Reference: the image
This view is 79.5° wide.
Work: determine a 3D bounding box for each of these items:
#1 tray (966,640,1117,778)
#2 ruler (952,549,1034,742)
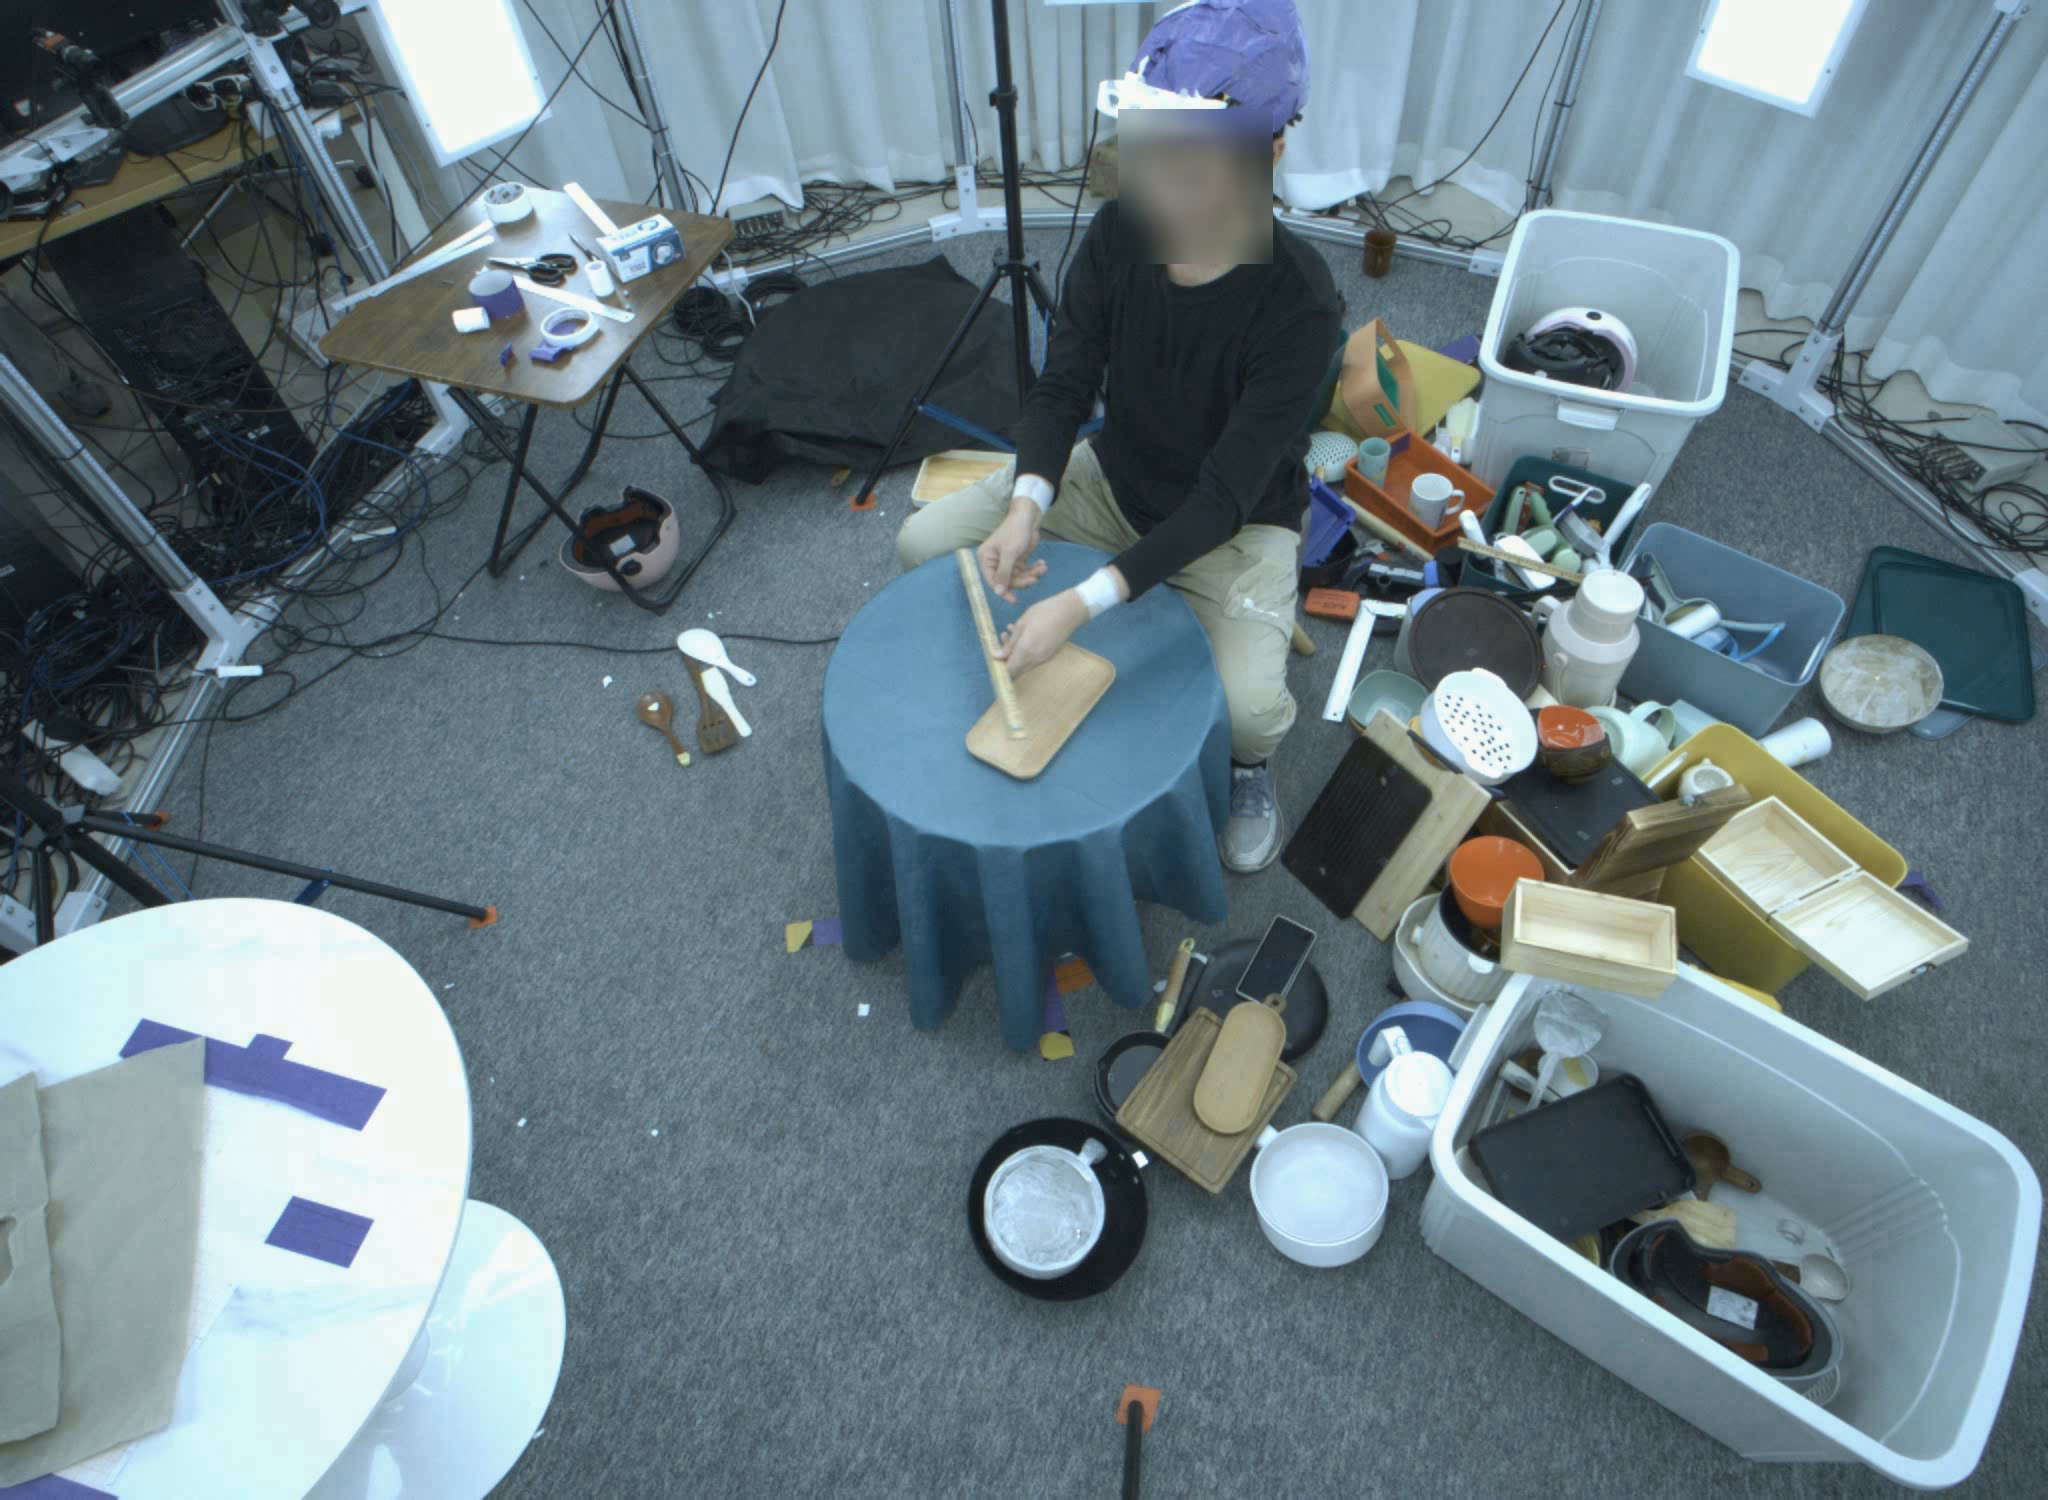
[{"bbox_3d":[0.028,-0.063,1.822,0.129,0.023,0.252,30,60,19],"label":"tray"},{"bbox_3d":[-0.051,-0.170,1.807,0.027,0.006,0.491,-4,41,-13],"label":"ruler"}]
